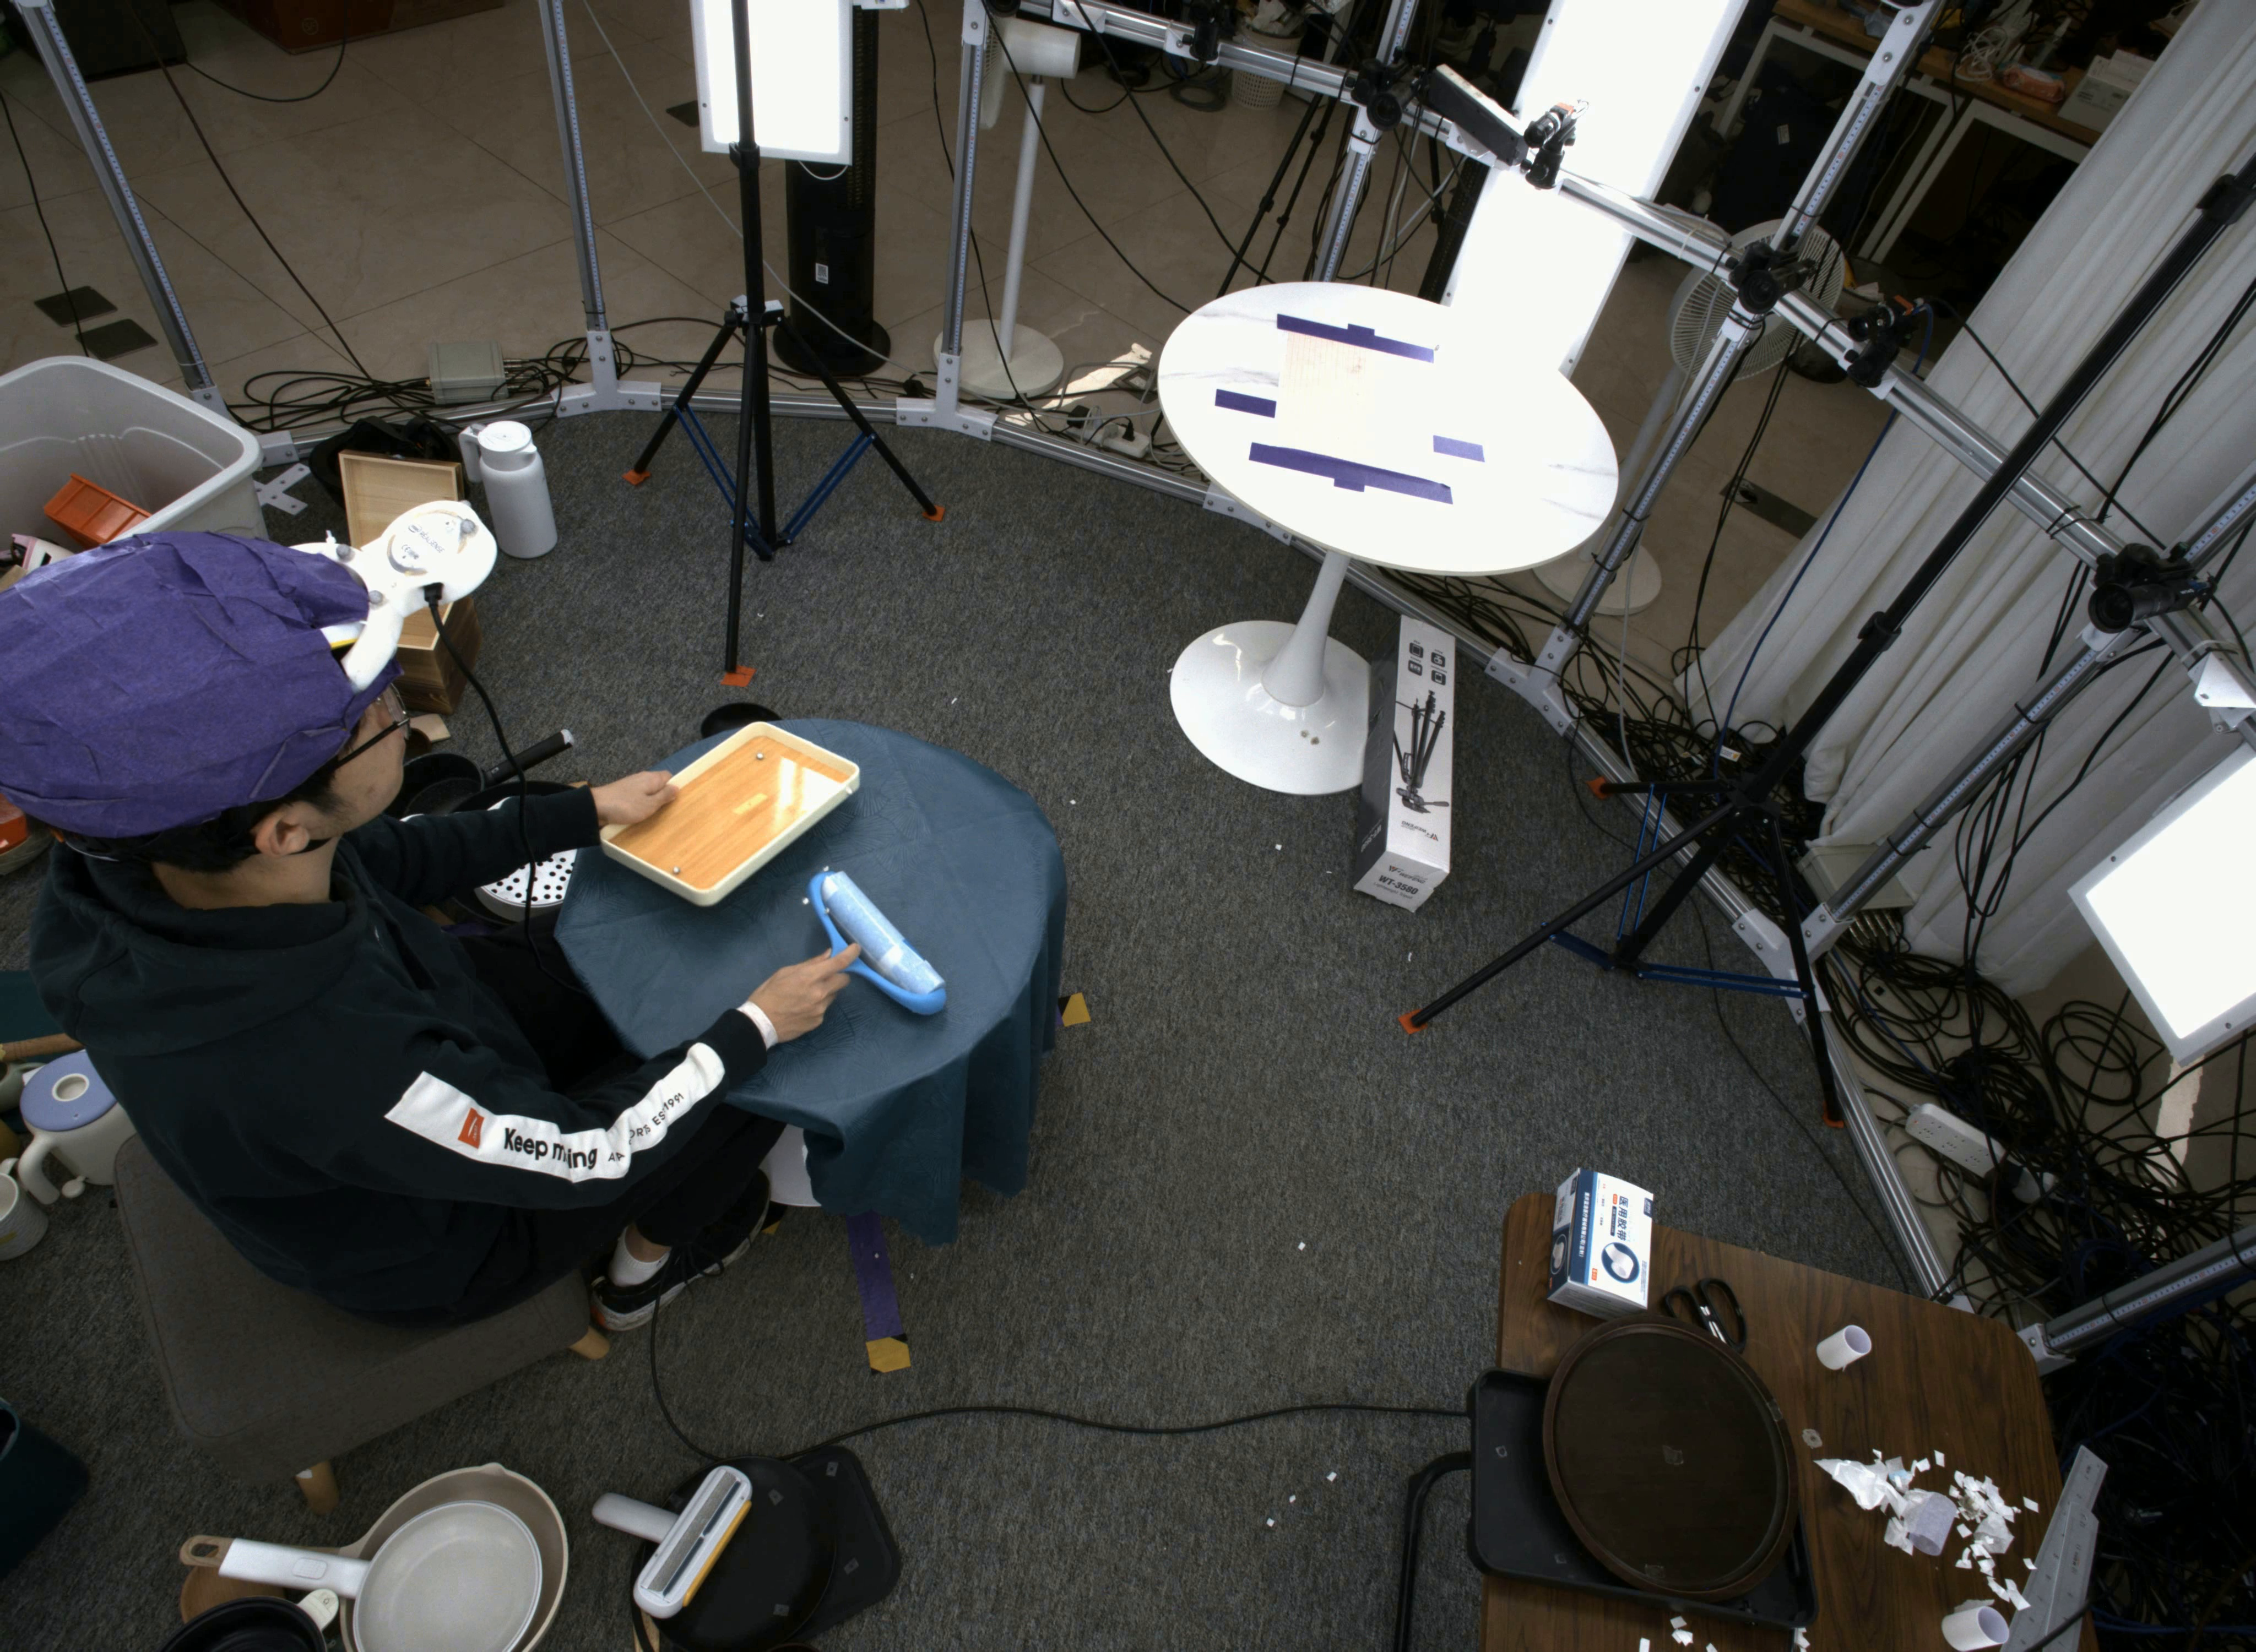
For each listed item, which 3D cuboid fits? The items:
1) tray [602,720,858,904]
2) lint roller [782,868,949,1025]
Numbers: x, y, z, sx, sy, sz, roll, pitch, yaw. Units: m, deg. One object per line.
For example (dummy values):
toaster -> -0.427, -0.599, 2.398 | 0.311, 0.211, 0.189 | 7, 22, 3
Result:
tray -> -0.508, -0.027, 1.658 | 0.186, 0.028, 0.300 | 24, 44, 19
lint roller -> -0.343, 0.168, 1.570 | 0.227, 0.068, 0.180 | 43, 55, 4
